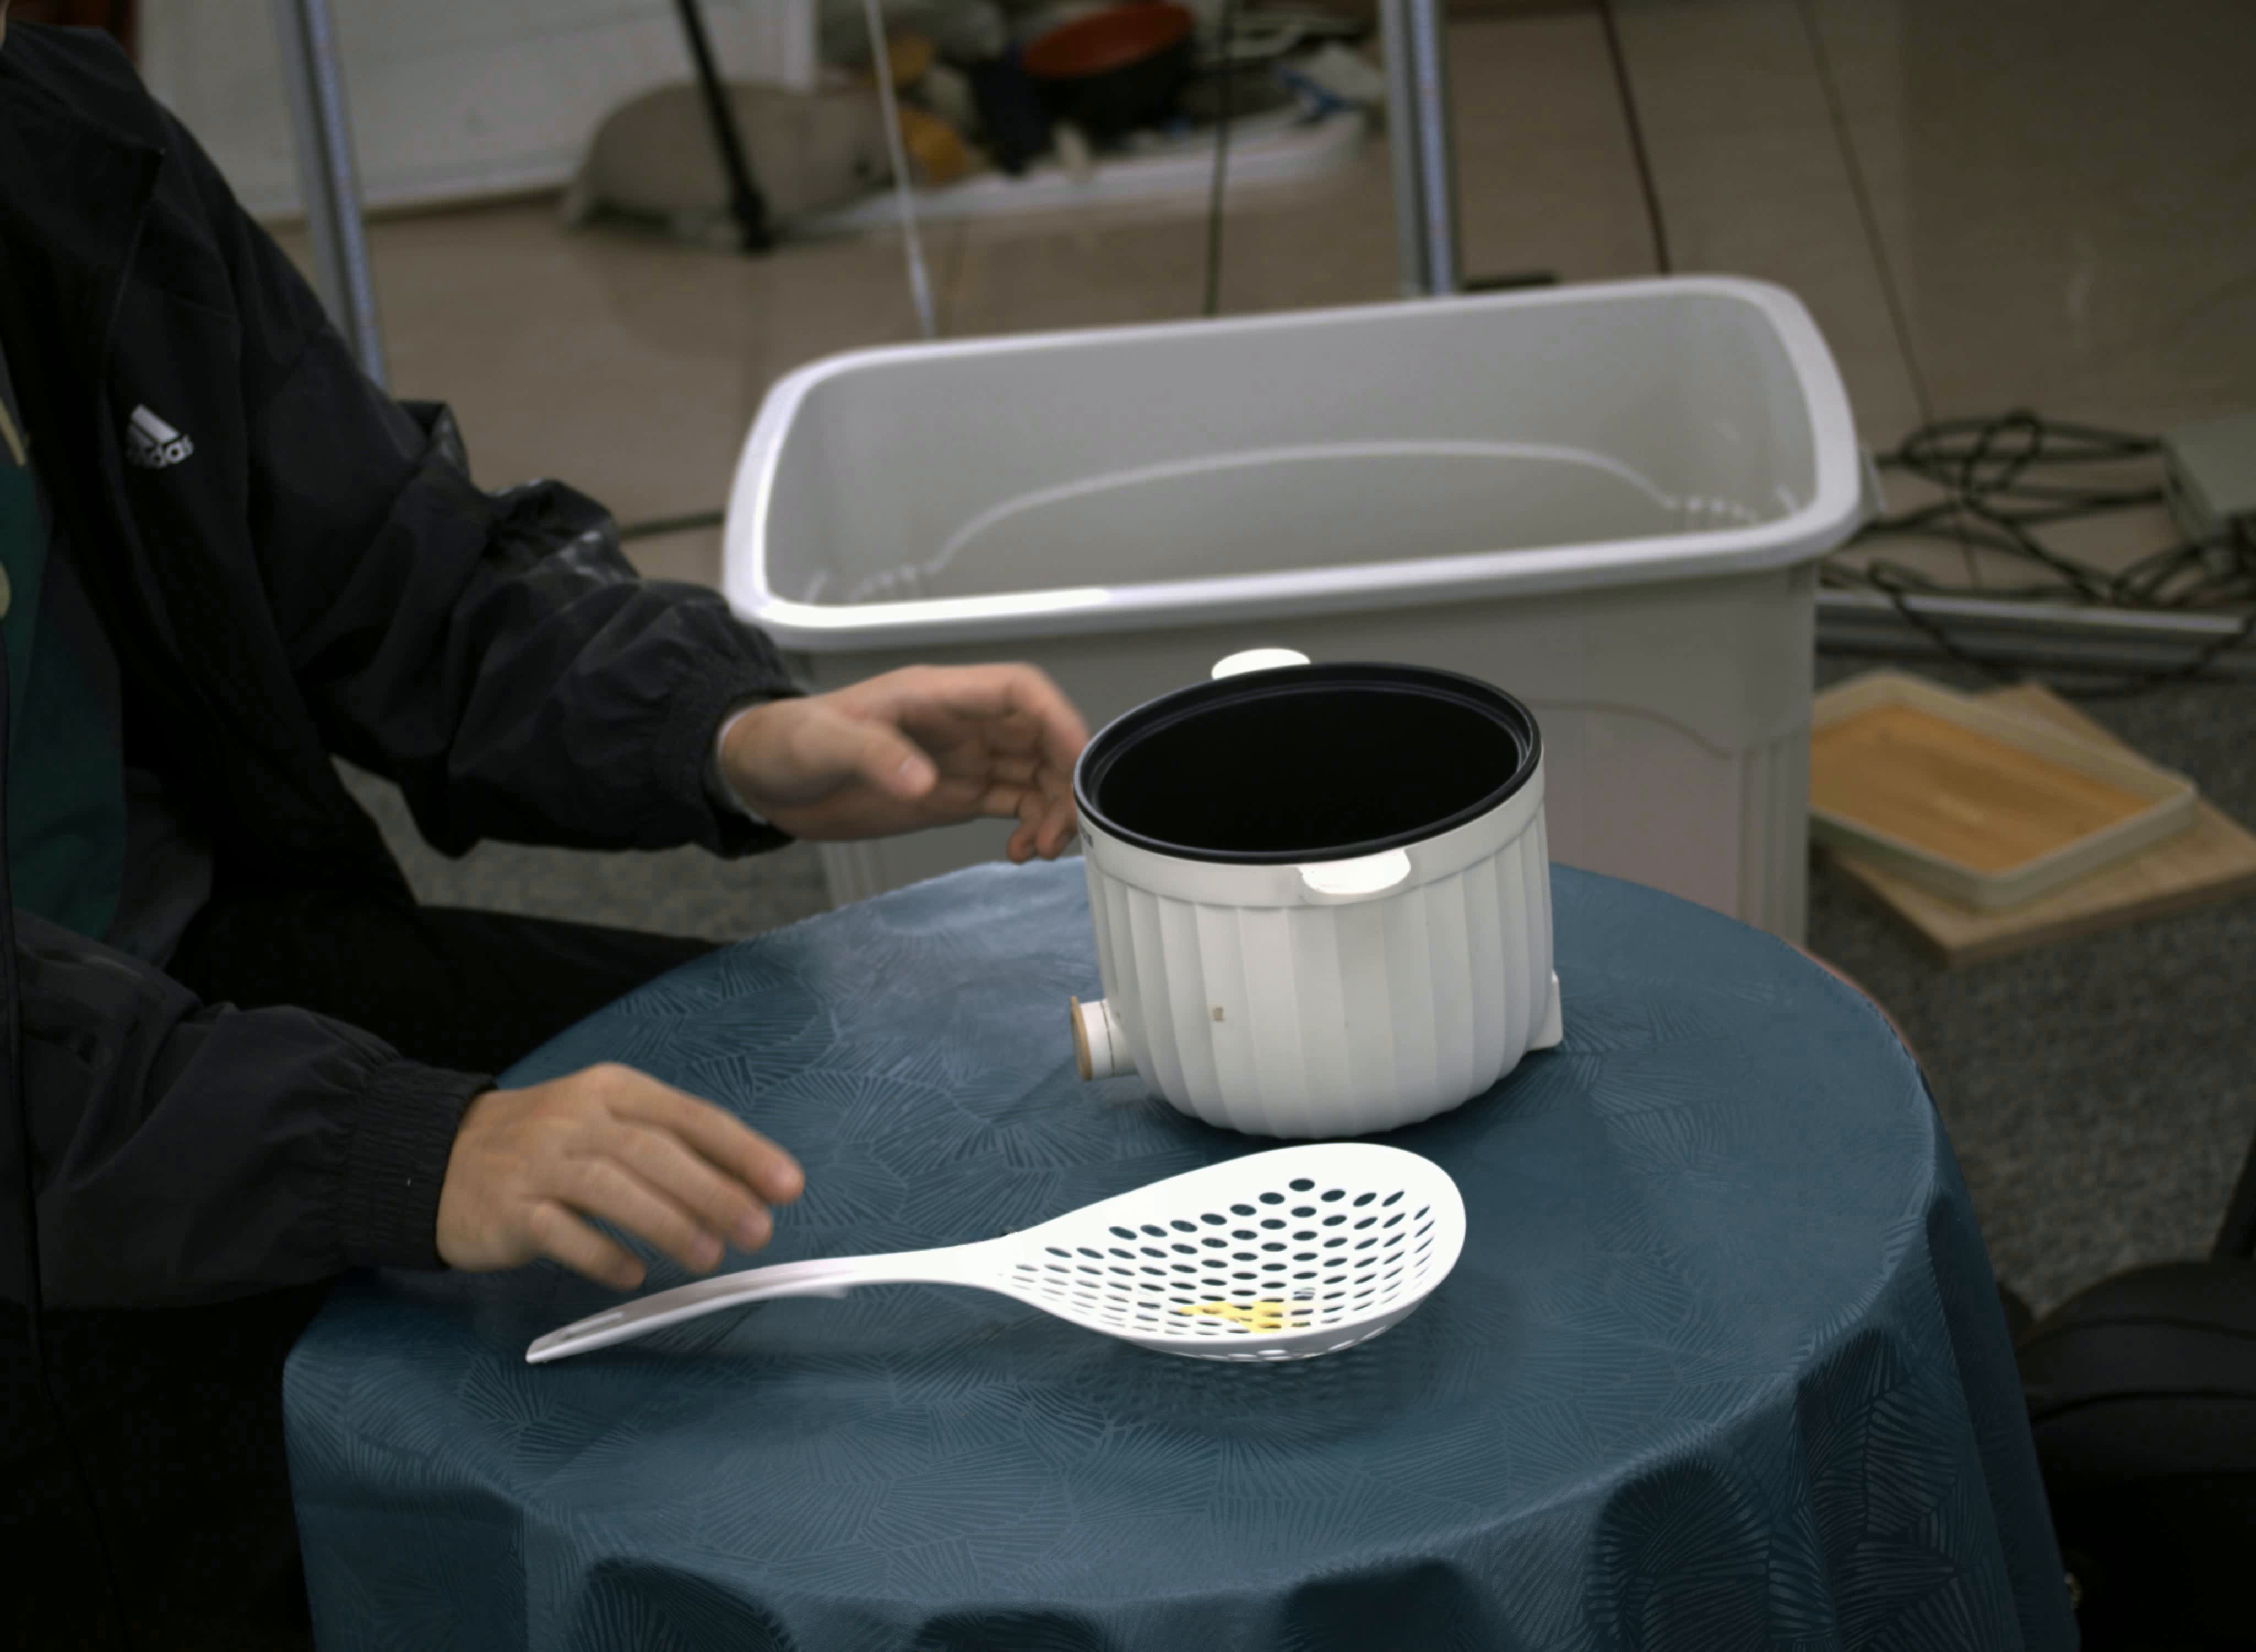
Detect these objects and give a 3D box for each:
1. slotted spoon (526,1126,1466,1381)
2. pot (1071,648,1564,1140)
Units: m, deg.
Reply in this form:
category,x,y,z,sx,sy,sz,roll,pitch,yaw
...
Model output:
category,x,y,z,sx,sy,sz,roll,pitch,yaw
slotted spoon,-0.050,0.167,2.047,0.347,0.051,0.134,-3,27,8
pot,0.071,0.034,2.188,0.190,0.145,0.237,-7,24,-7
